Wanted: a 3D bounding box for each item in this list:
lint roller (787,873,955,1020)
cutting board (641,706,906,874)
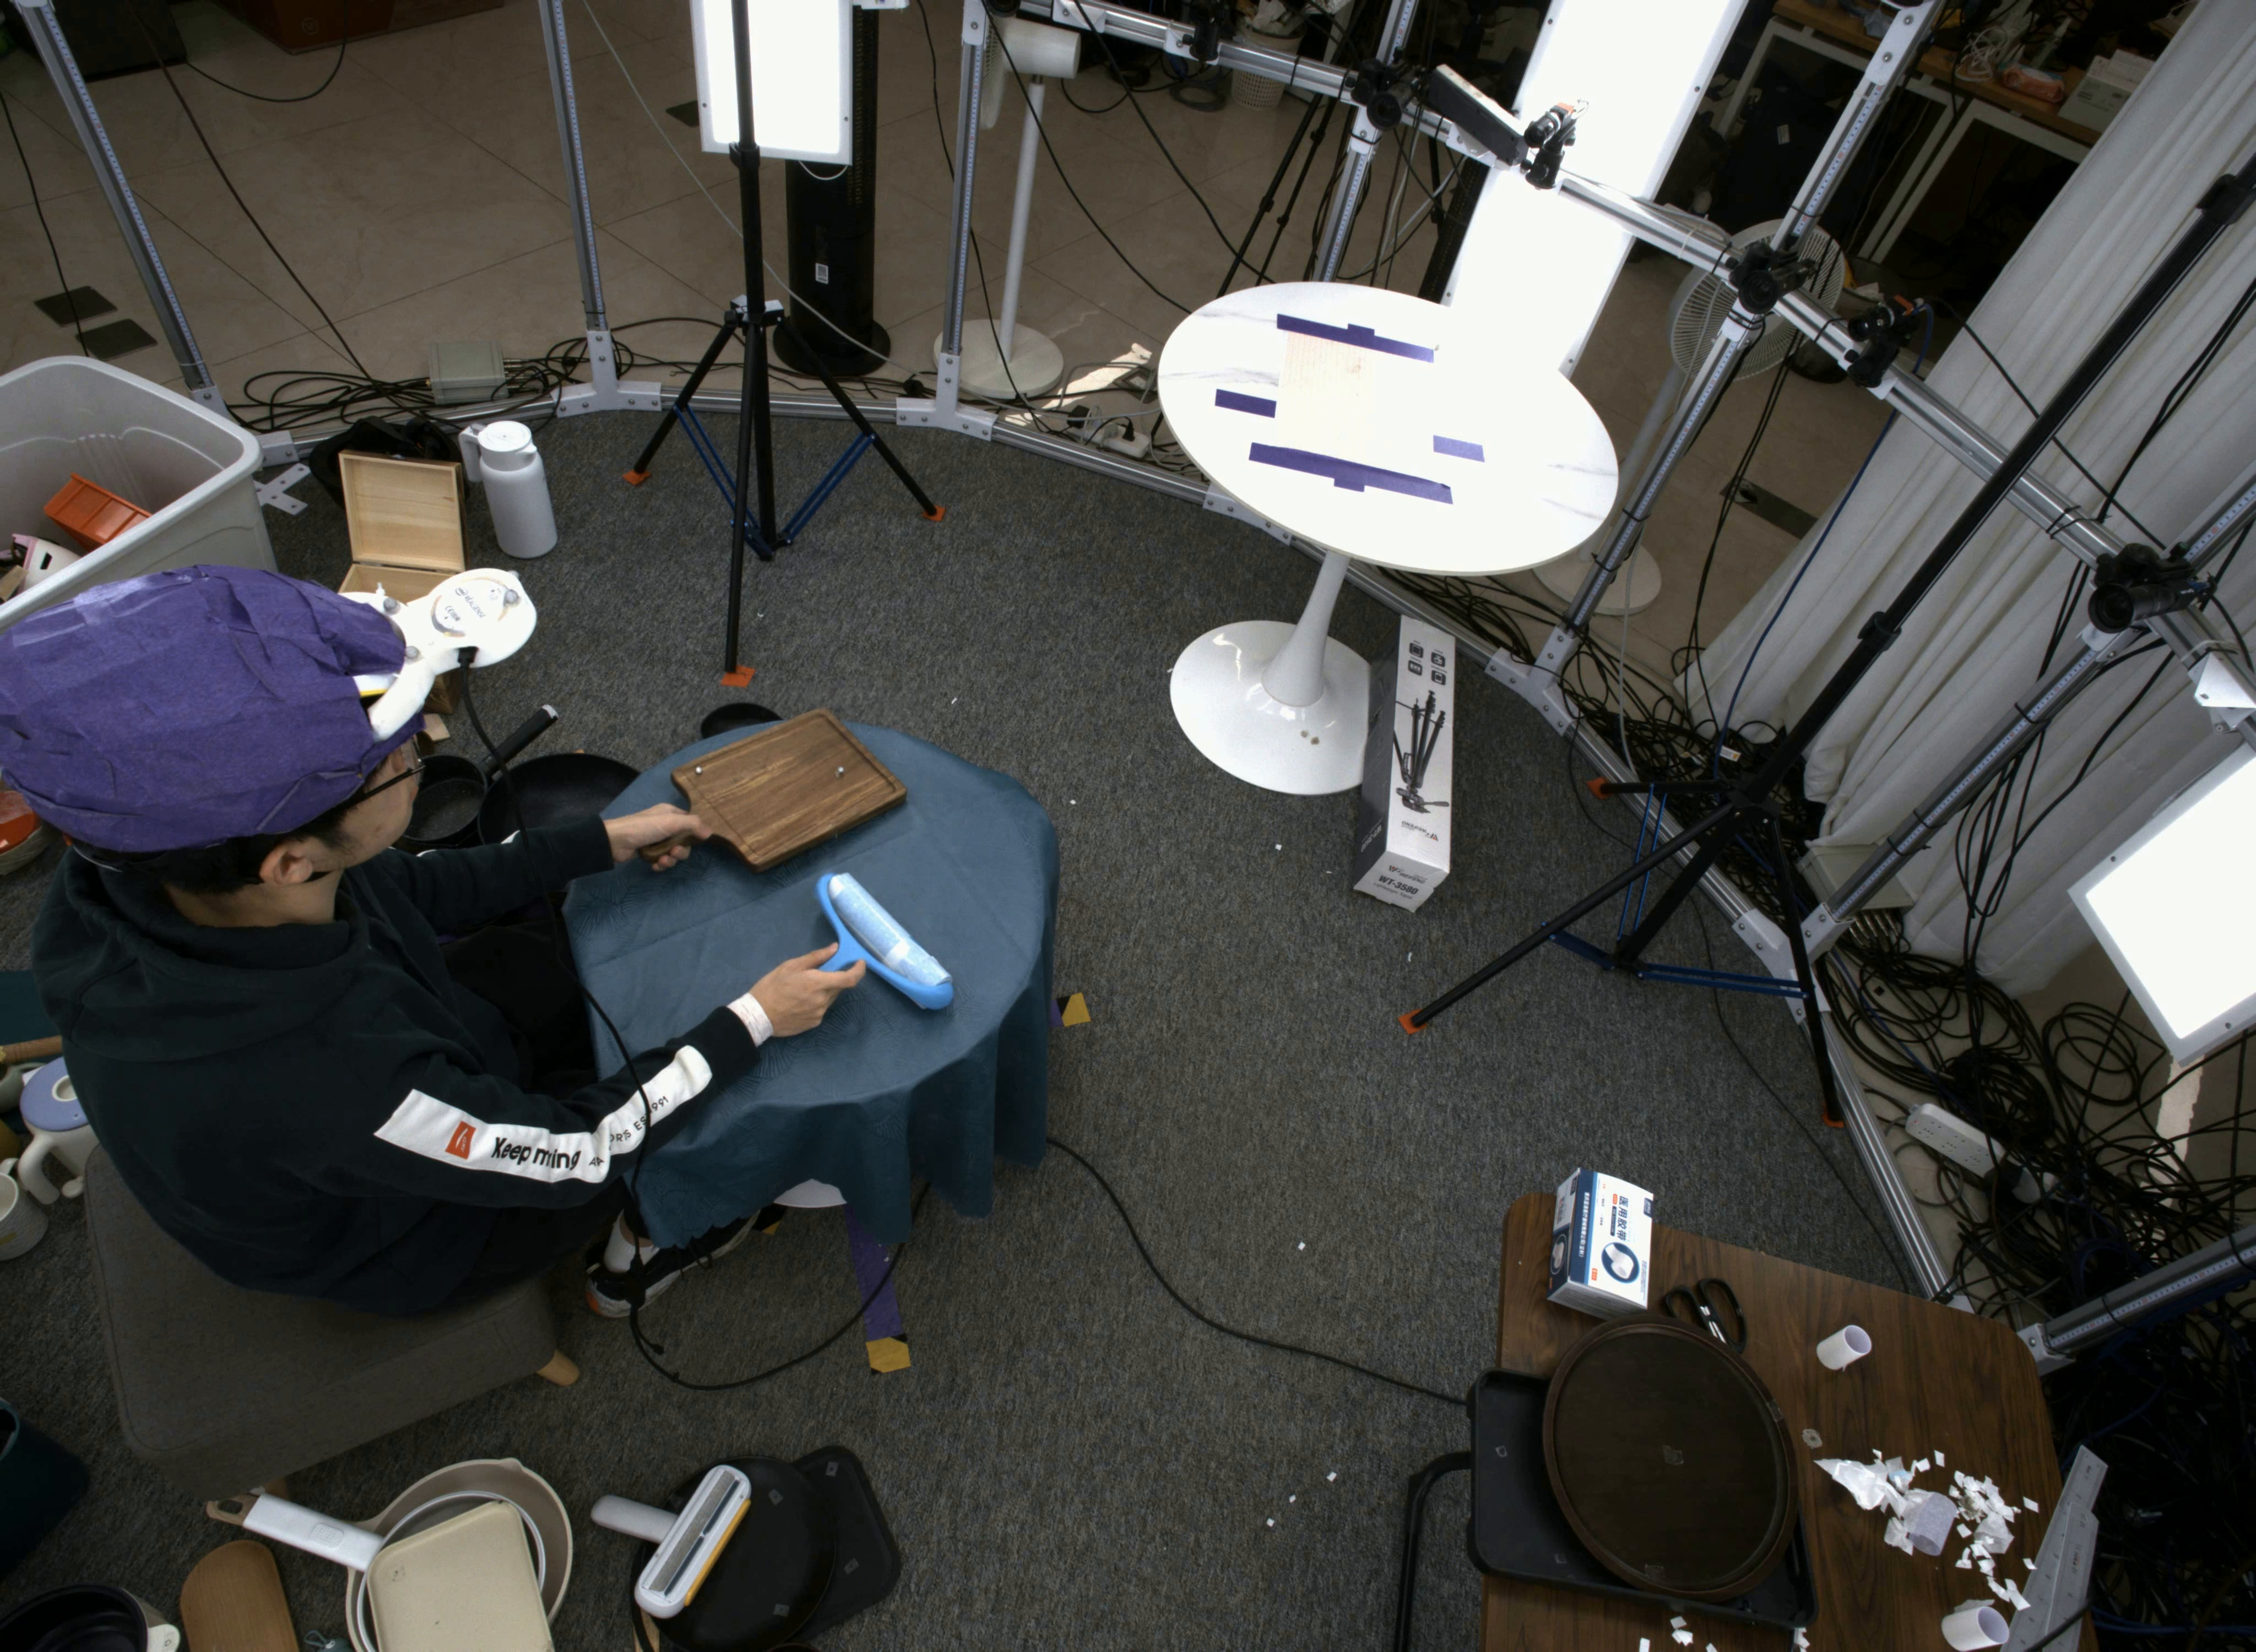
[{"bbox_3d":[-0.337,0.167,1.579,0.226,0.069,0.180,41,48,10],"label":"lint roller"},{"bbox_3d":[-0.485,-0.036,1.702,0.196,0.023,0.354,43,49,18],"label":"cutting board"}]
